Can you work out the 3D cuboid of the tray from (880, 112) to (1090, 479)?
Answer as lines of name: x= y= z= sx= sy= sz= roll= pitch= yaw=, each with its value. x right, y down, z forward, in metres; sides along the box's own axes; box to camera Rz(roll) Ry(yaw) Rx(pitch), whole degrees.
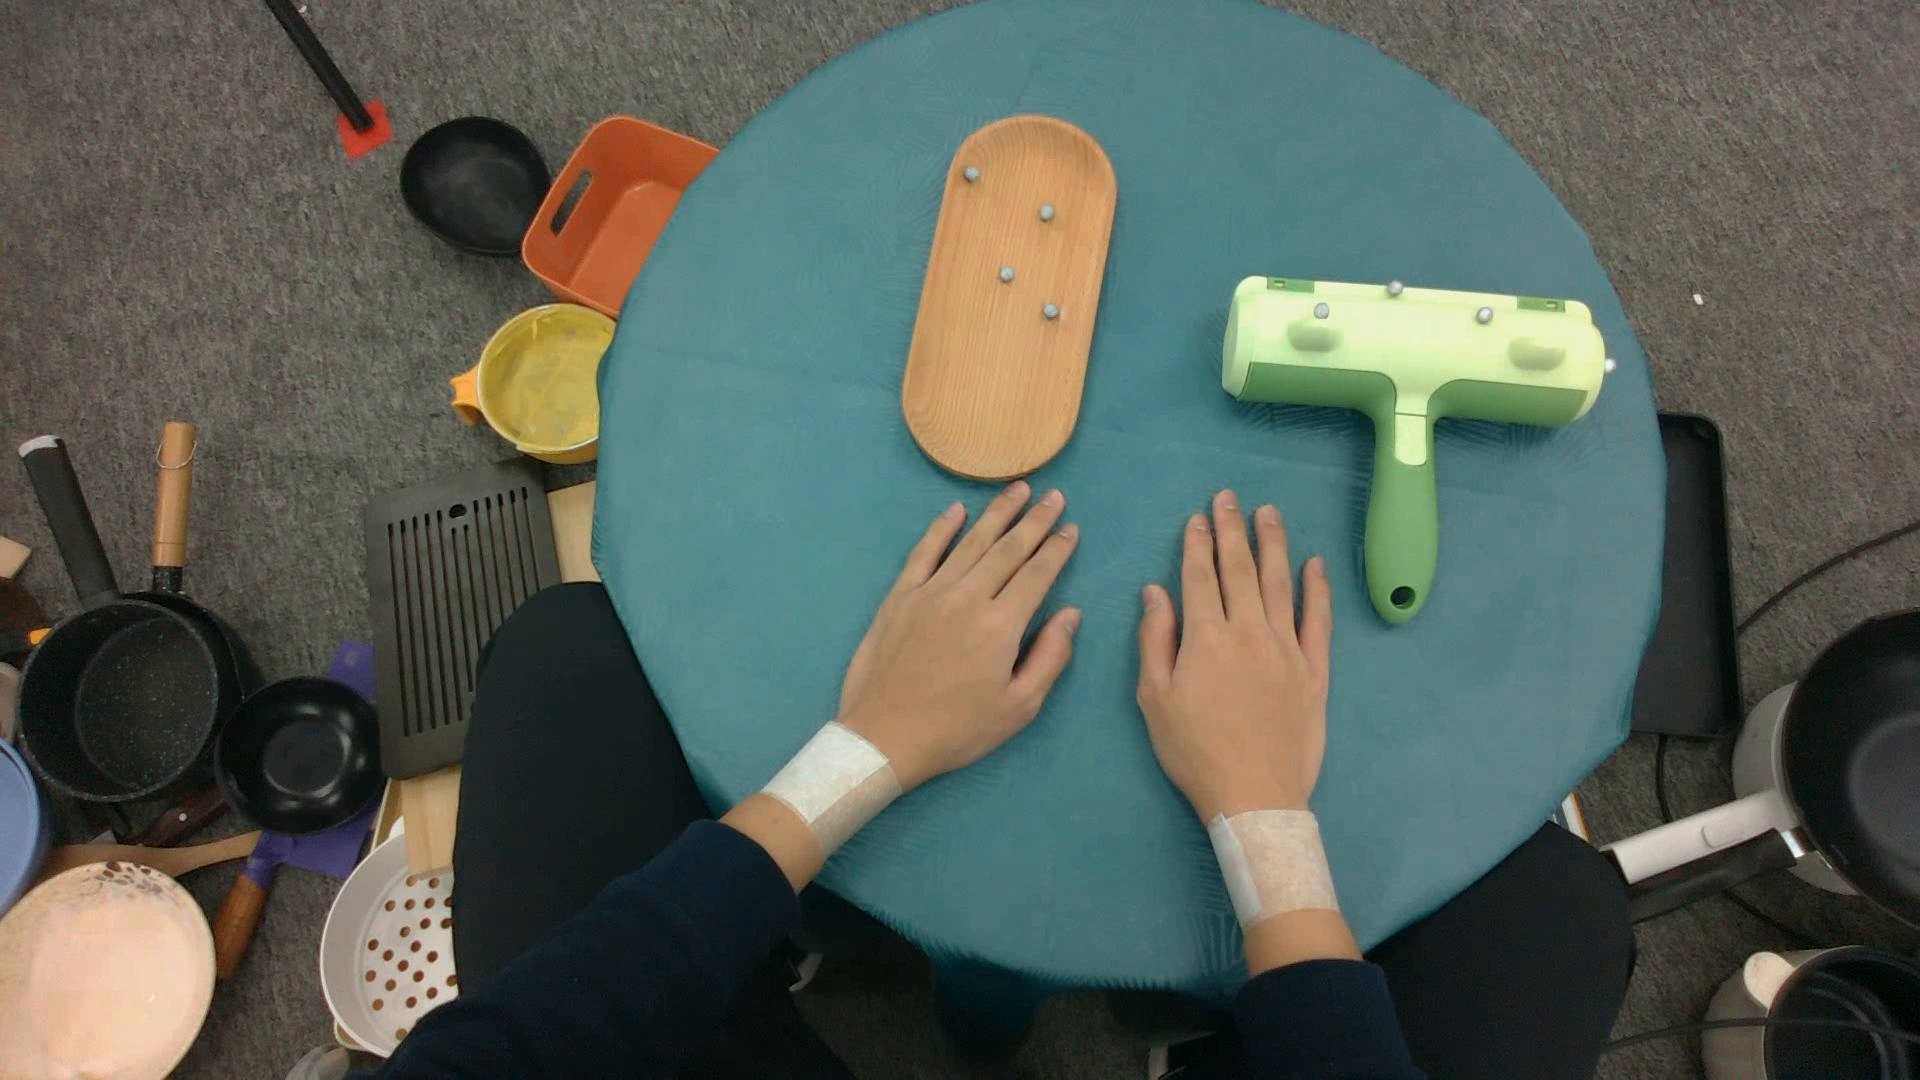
tray: x=0.016 y=-0.143 z=0.789 sx=0.101 sy=0.020 sz=0.232 roll=8 pitch=74 yaw=2

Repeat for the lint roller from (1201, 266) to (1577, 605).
lint roller: x=0.231 y=-0.062 z=0.731 sx=0.198 sy=0.082 sz=0.184 roll=3 pitch=67 yaw=1
